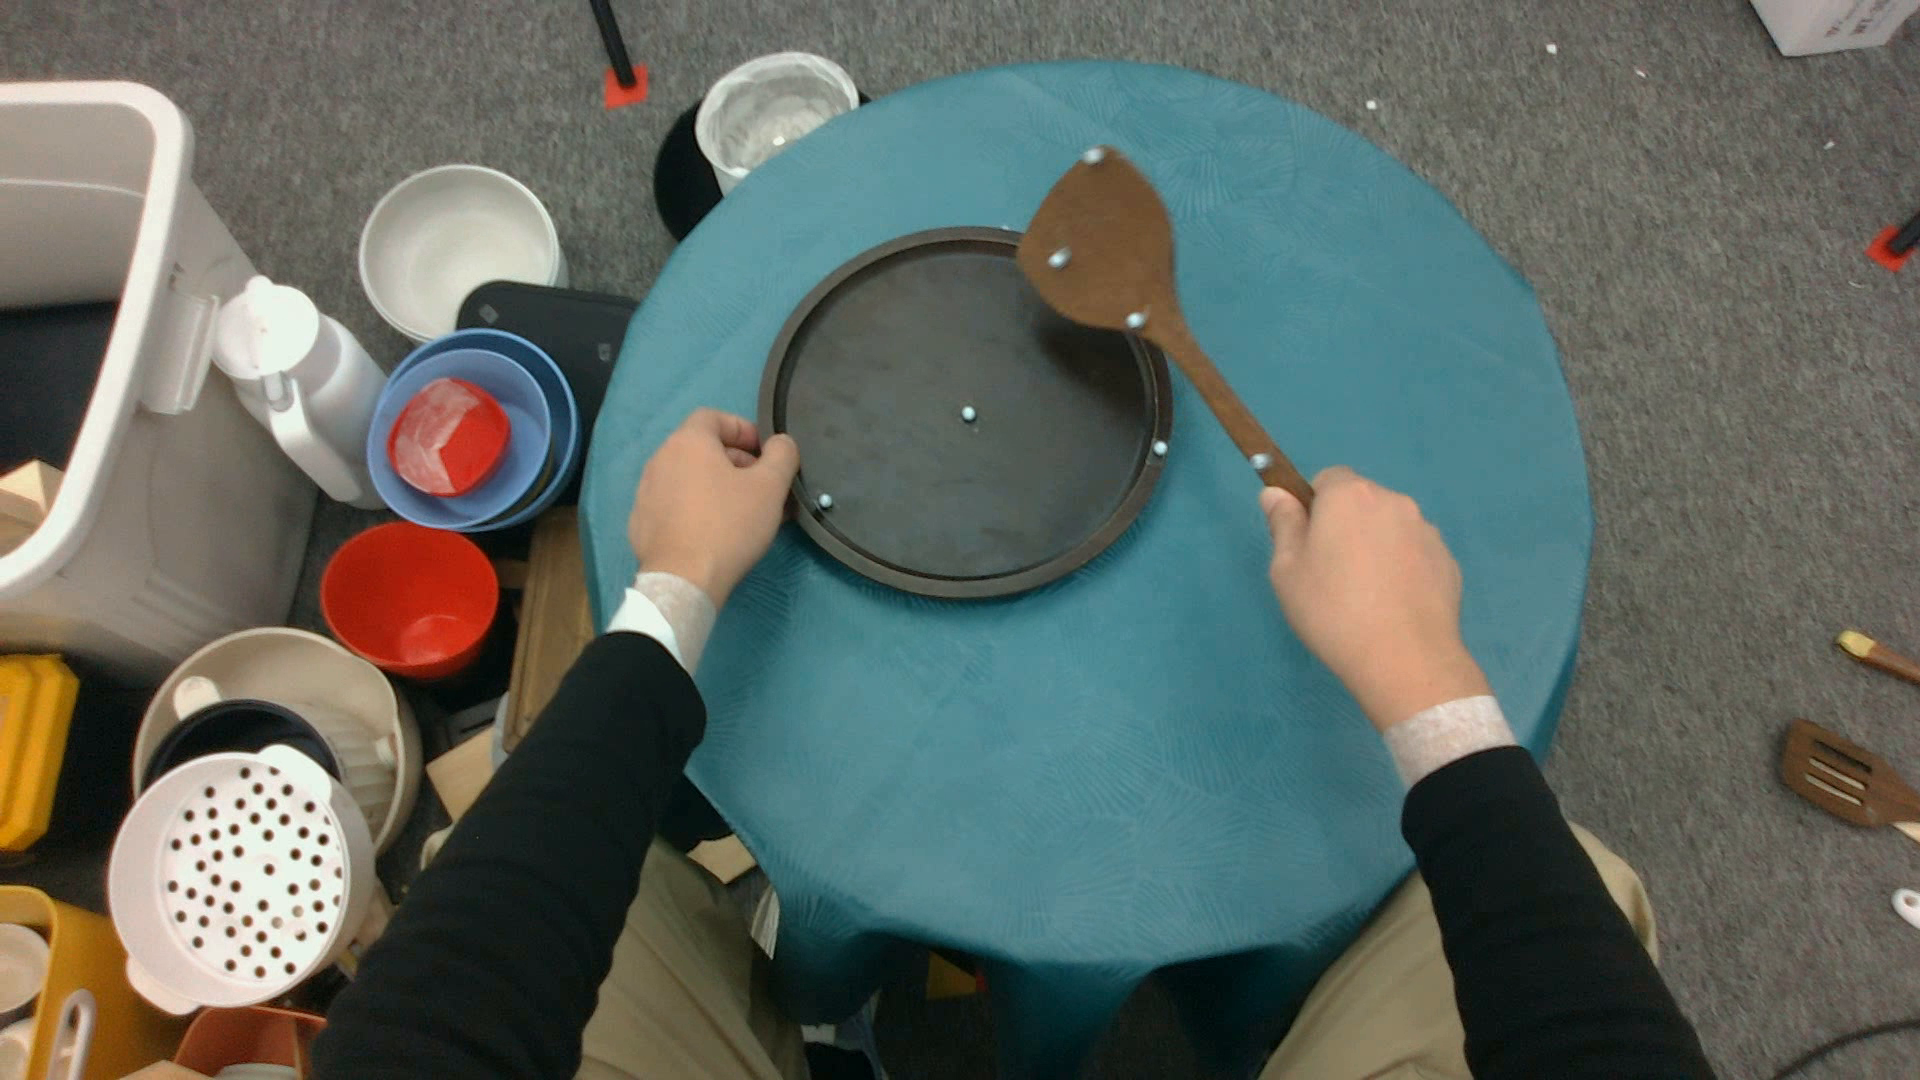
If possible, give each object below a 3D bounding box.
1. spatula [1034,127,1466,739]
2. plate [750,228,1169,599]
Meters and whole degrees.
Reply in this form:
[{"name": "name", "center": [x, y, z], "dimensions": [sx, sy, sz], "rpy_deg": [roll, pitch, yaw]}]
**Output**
[{"name": "spatula", "center": [0.154, -0.063, 0.734], "dimensions": [0.096, 0.016, 0.387], "rpy_deg": [-40, 64, 26]}, {"name": "plate", "center": [-0.001, -0.081, 0.838], "dimensions": [0.255, 0.029, 0.255], "rpy_deg": [0, 66, 0]}]
